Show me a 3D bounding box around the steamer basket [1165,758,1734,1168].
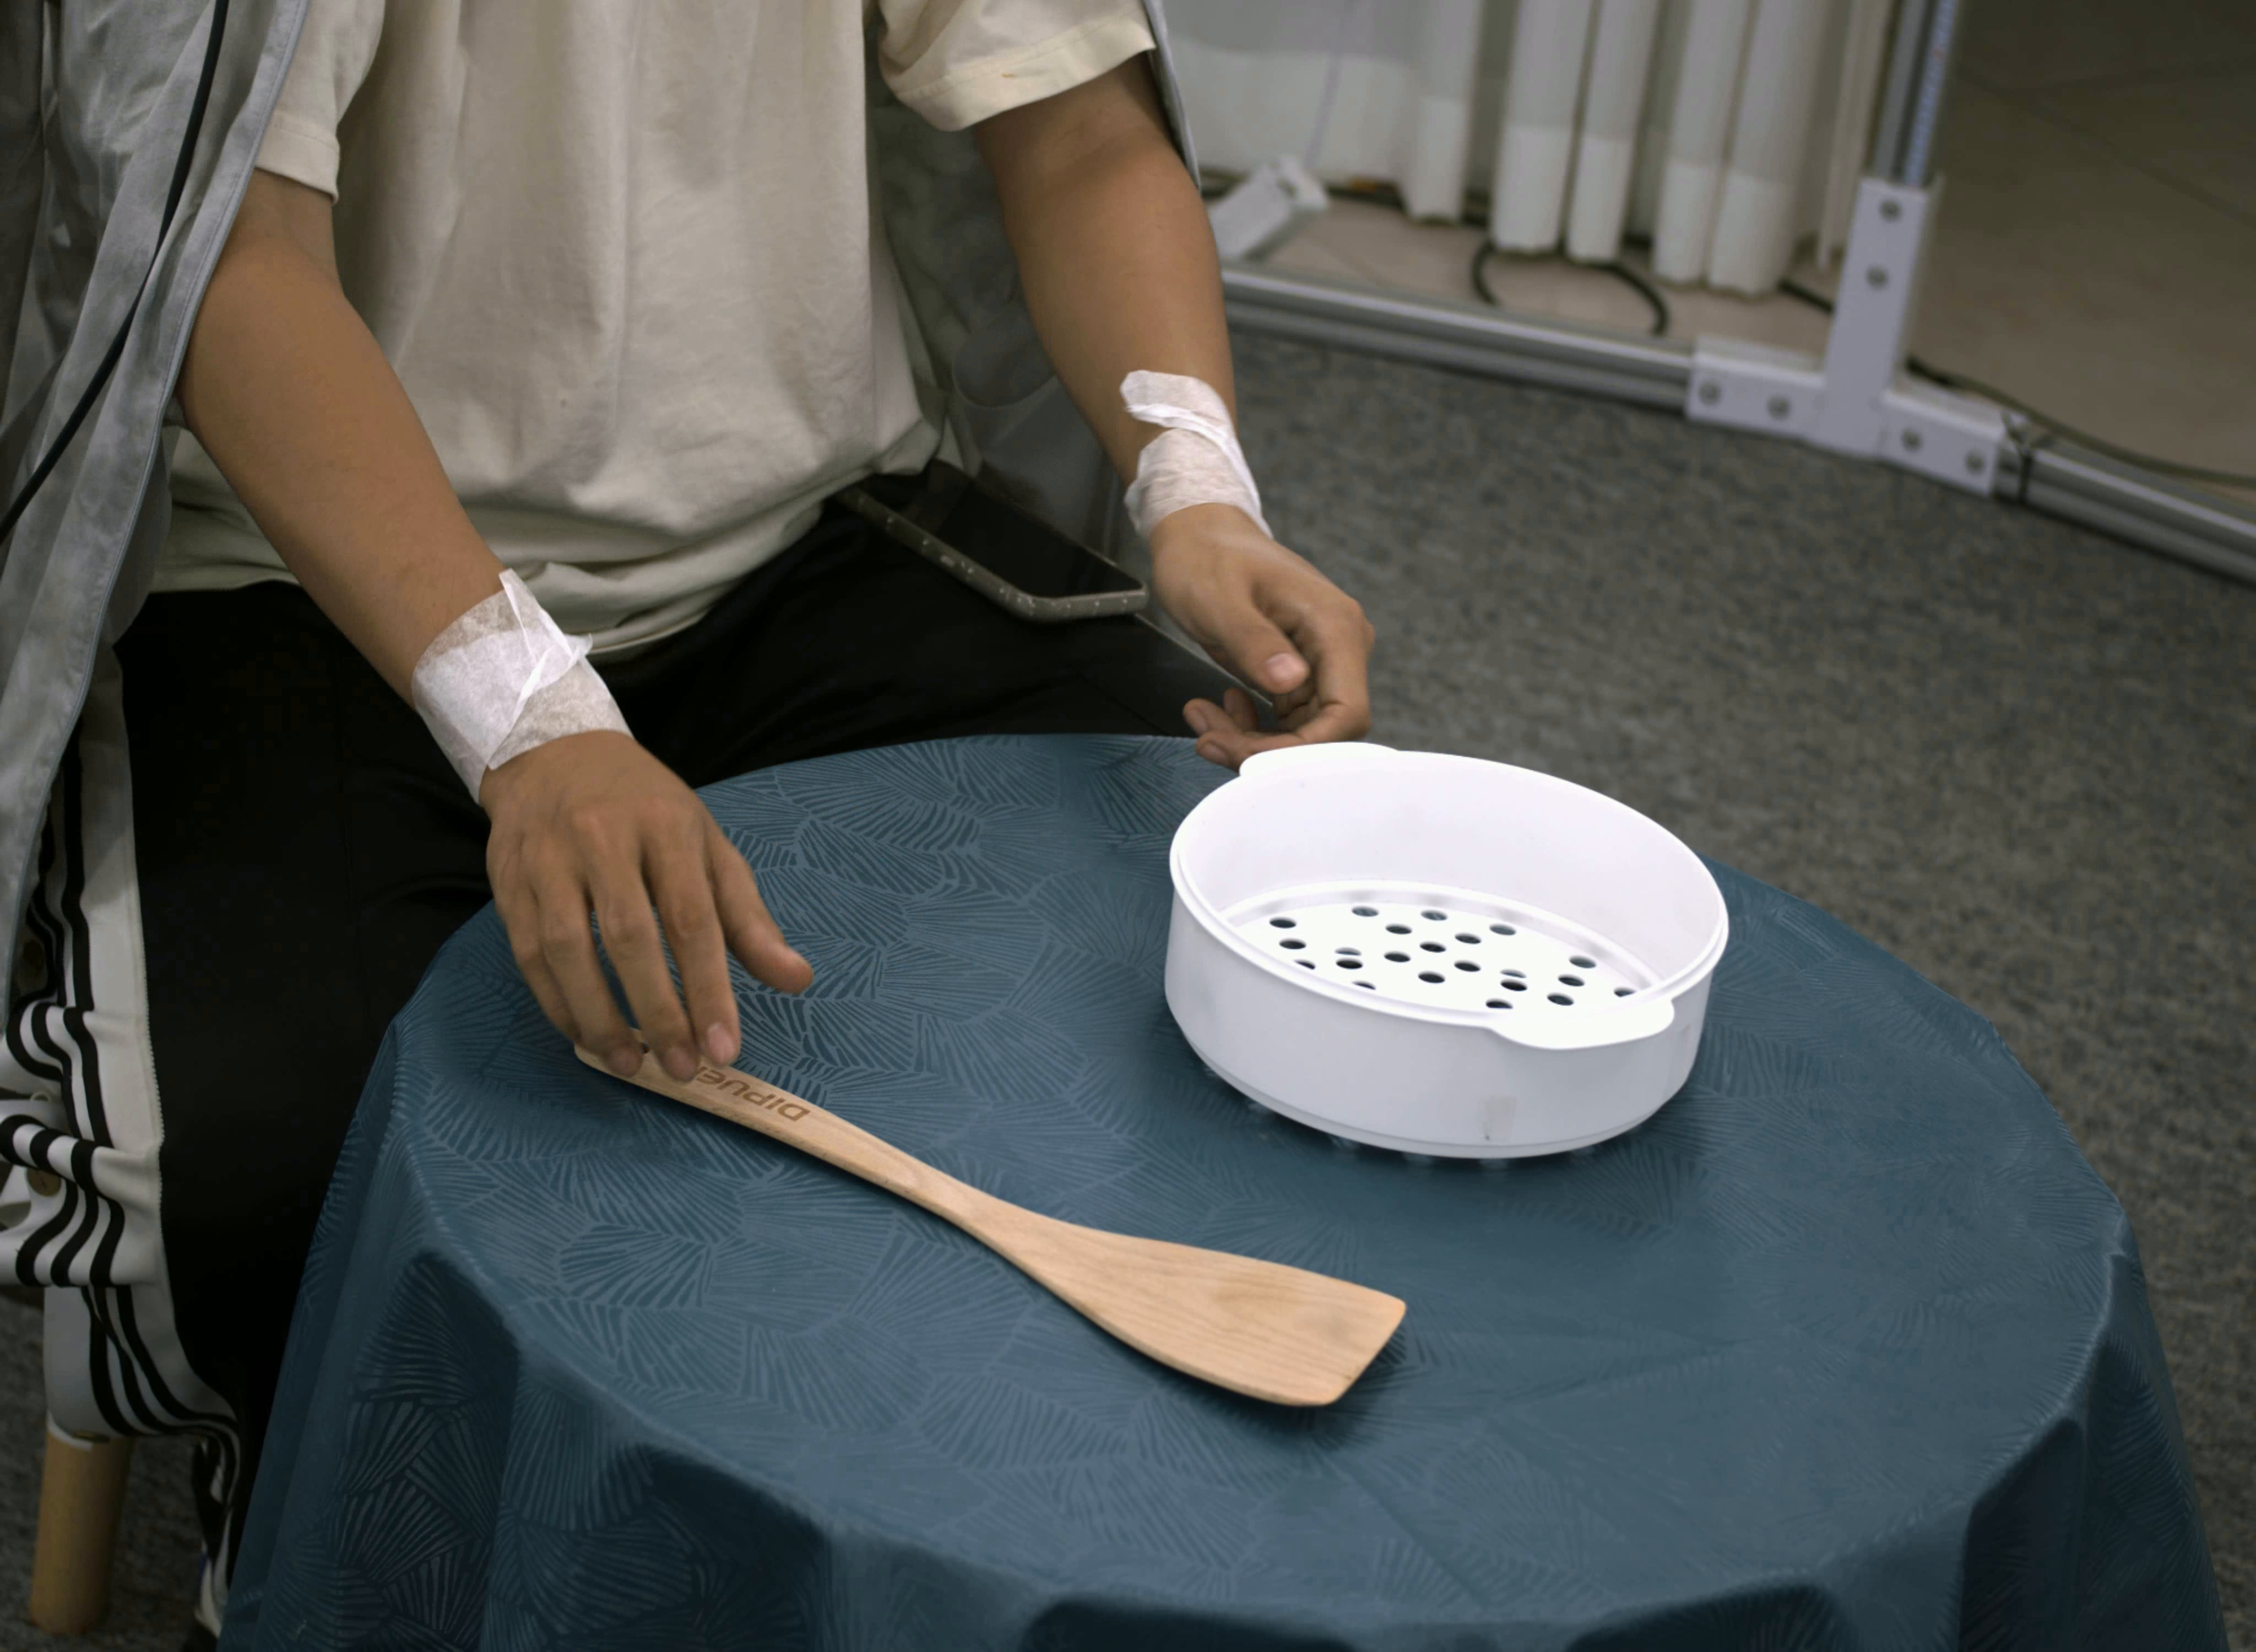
[{"bbox_3d":[0.113,0.050,1.903,0.200,0.069,0.232,-5,28,-25],"label":"steamer basket"}]

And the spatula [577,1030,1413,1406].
[{"bbox_3d":[-0.051,0.124,1.774,0.329,0.016,0.080,21,29,27],"label":"spatula"}]
